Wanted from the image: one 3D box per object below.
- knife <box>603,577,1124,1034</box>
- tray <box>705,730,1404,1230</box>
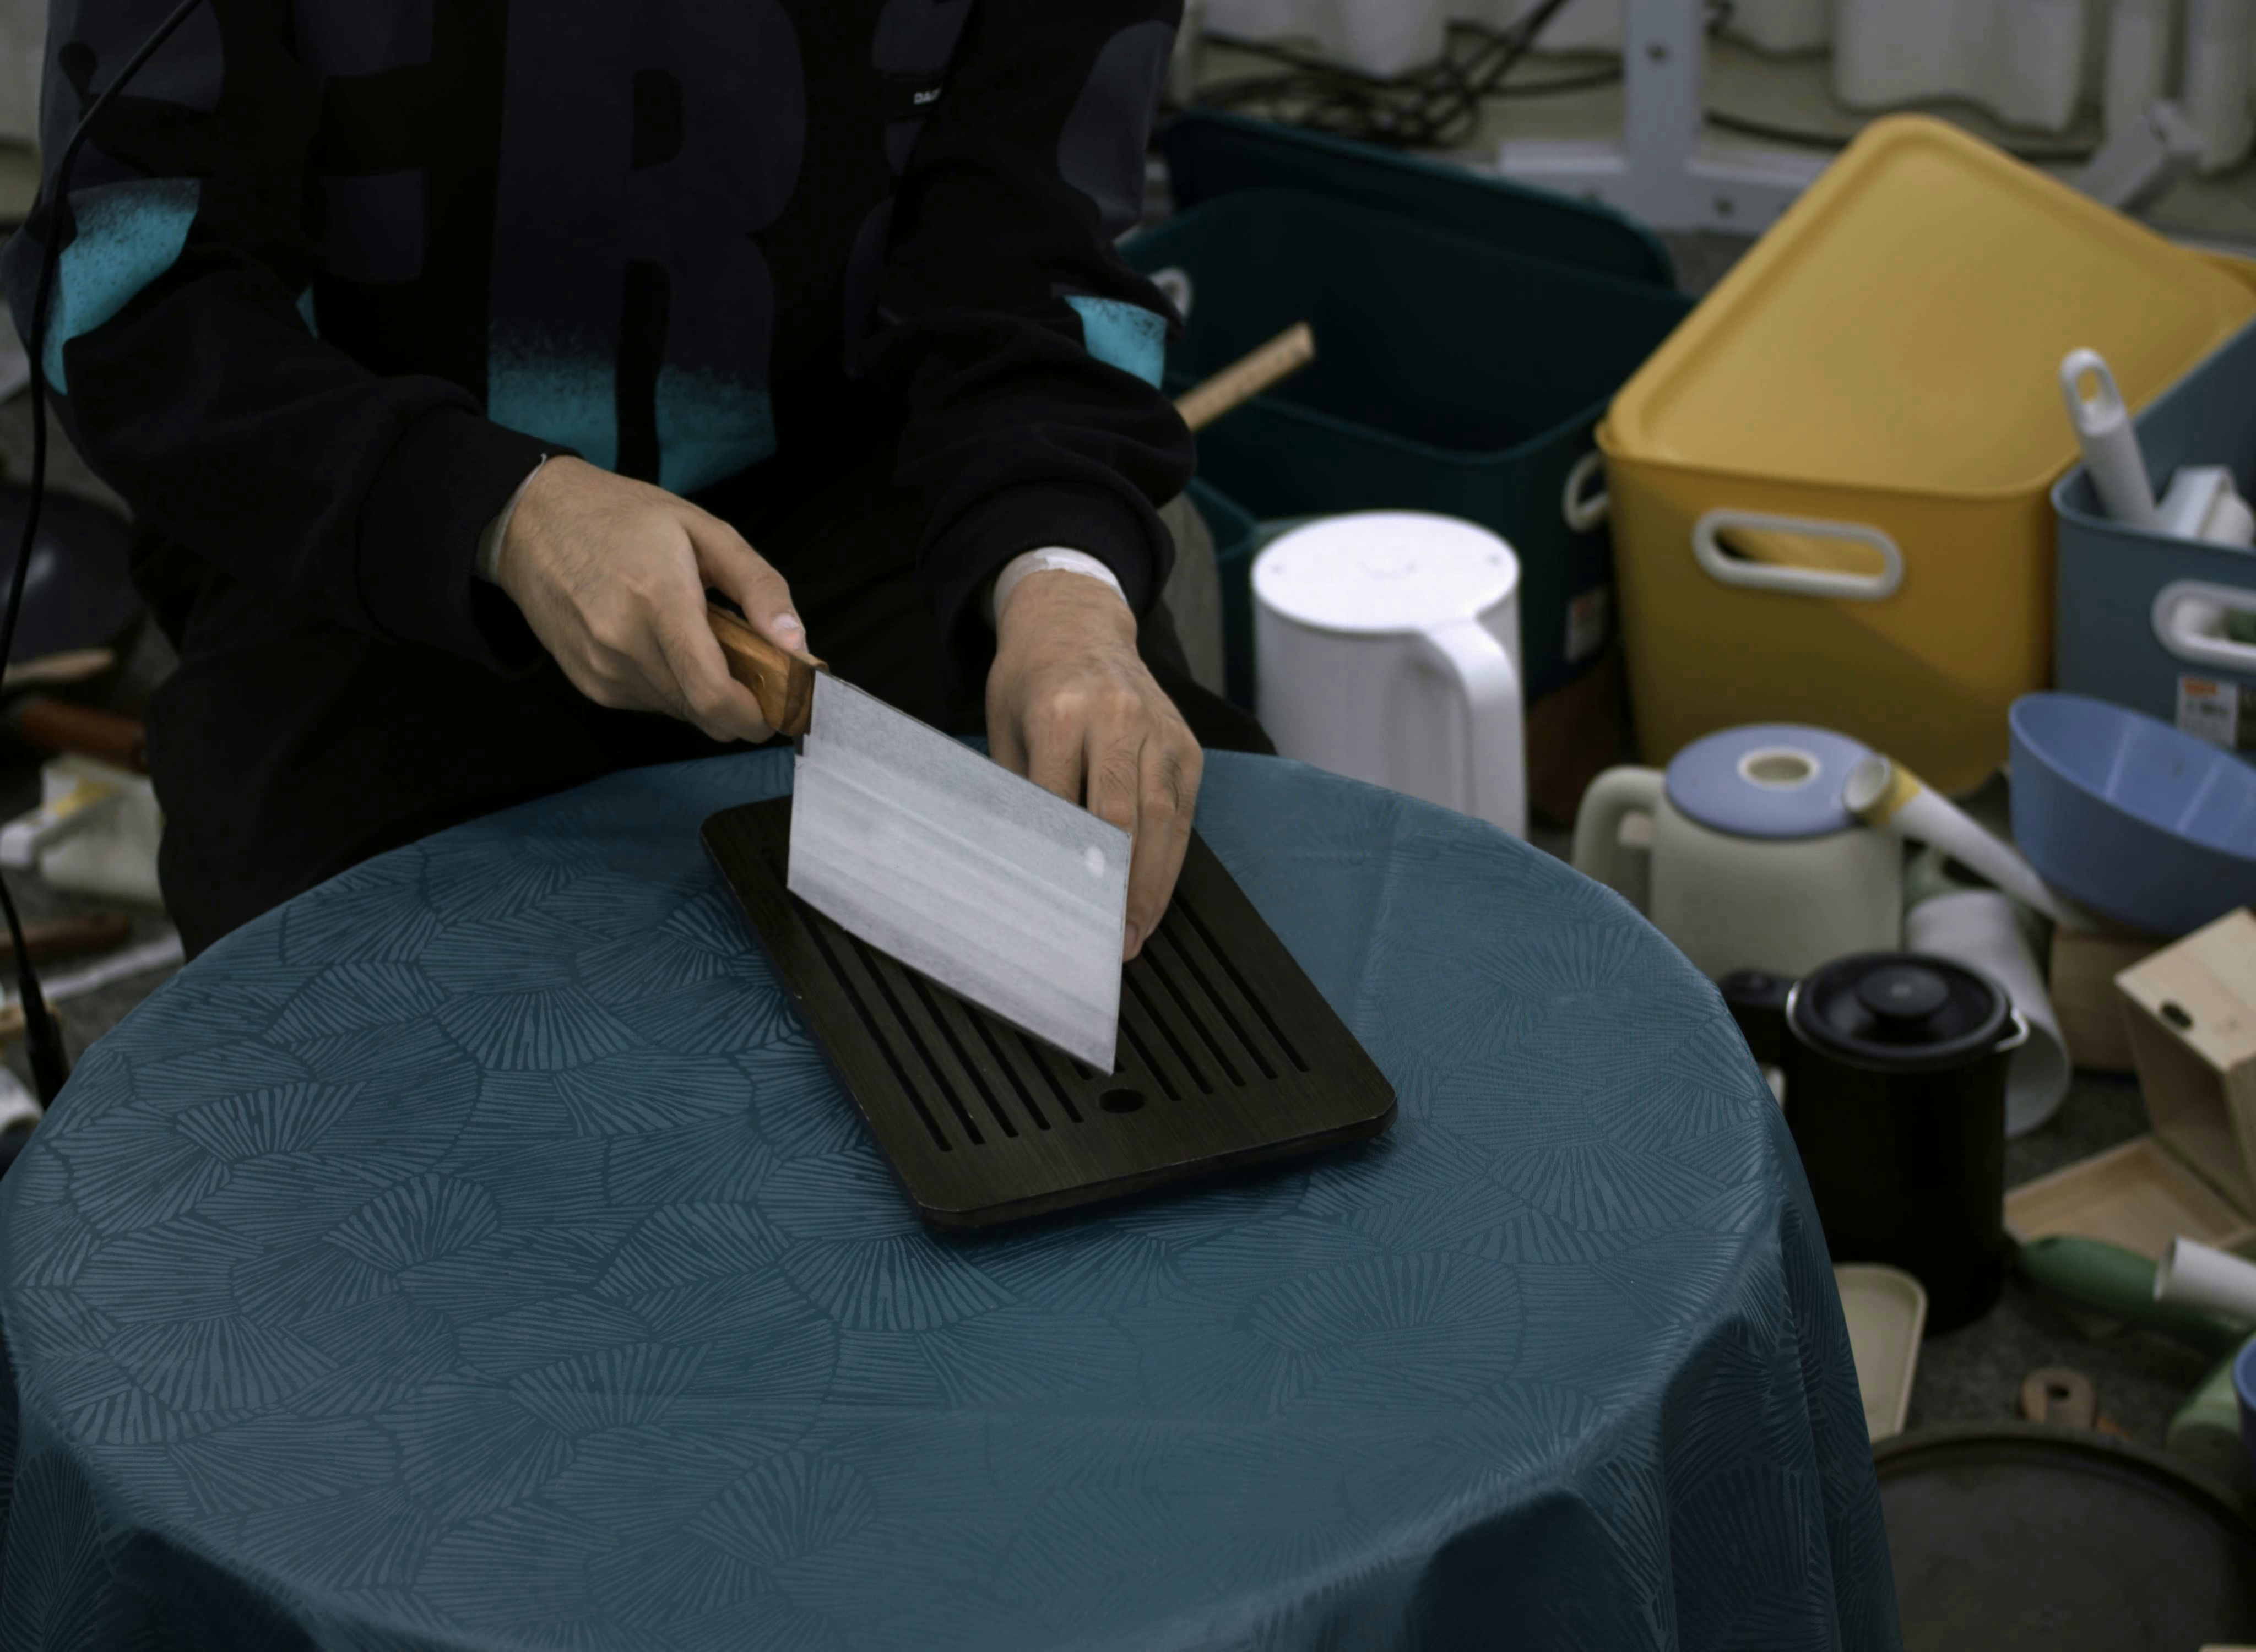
[{"bbox_3d":[-0.097,-0.006,1.977,0.021,0.092,0.306,-10,26,-37],"label":"knife"},{"bbox_3d":[-0.032,0.051,1.980,0.170,0.018,0.309,-11,29,-15],"label":"tray"}]
